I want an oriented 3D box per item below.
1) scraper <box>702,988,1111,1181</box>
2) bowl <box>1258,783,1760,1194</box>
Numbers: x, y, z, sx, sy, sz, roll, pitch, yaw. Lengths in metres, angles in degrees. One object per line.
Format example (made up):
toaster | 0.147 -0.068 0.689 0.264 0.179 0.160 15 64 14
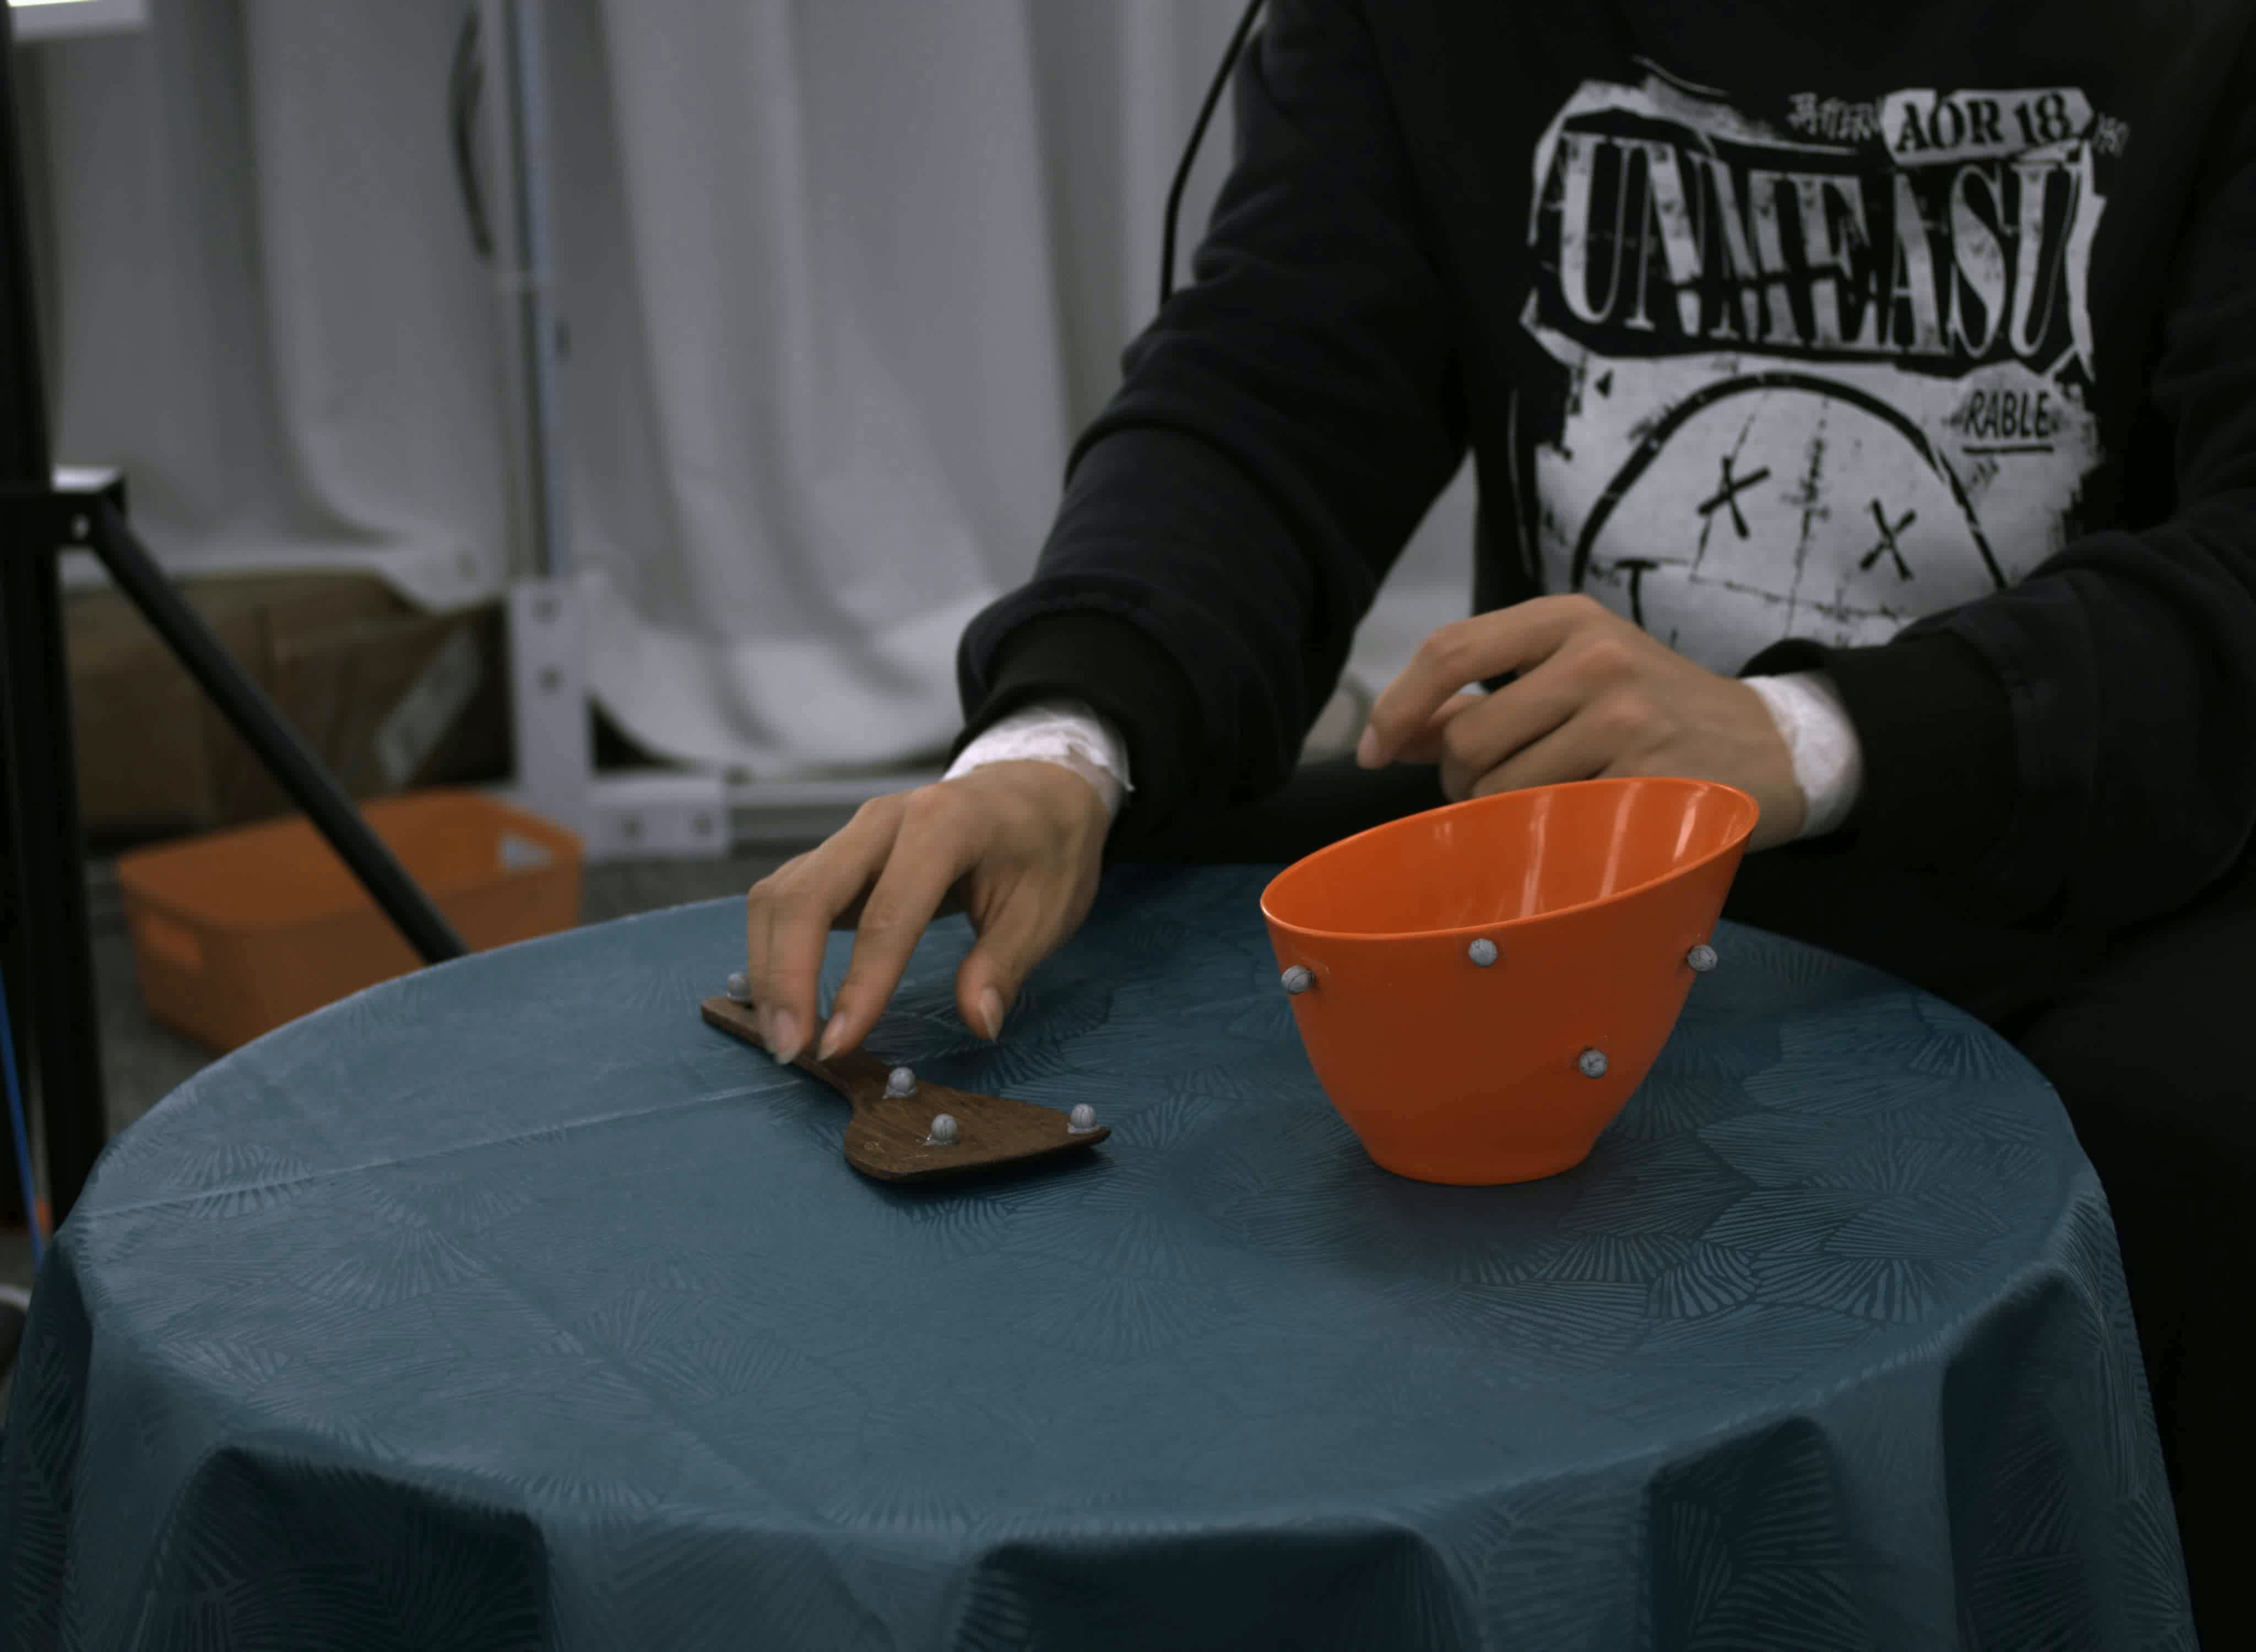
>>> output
scraper | -0.081 0.079 1.659 0.074 0.011 0.215 -9 16 -25
bowl | 0.112 0.049 1.562 0.147 0.104 0.149 -3 16 -1
